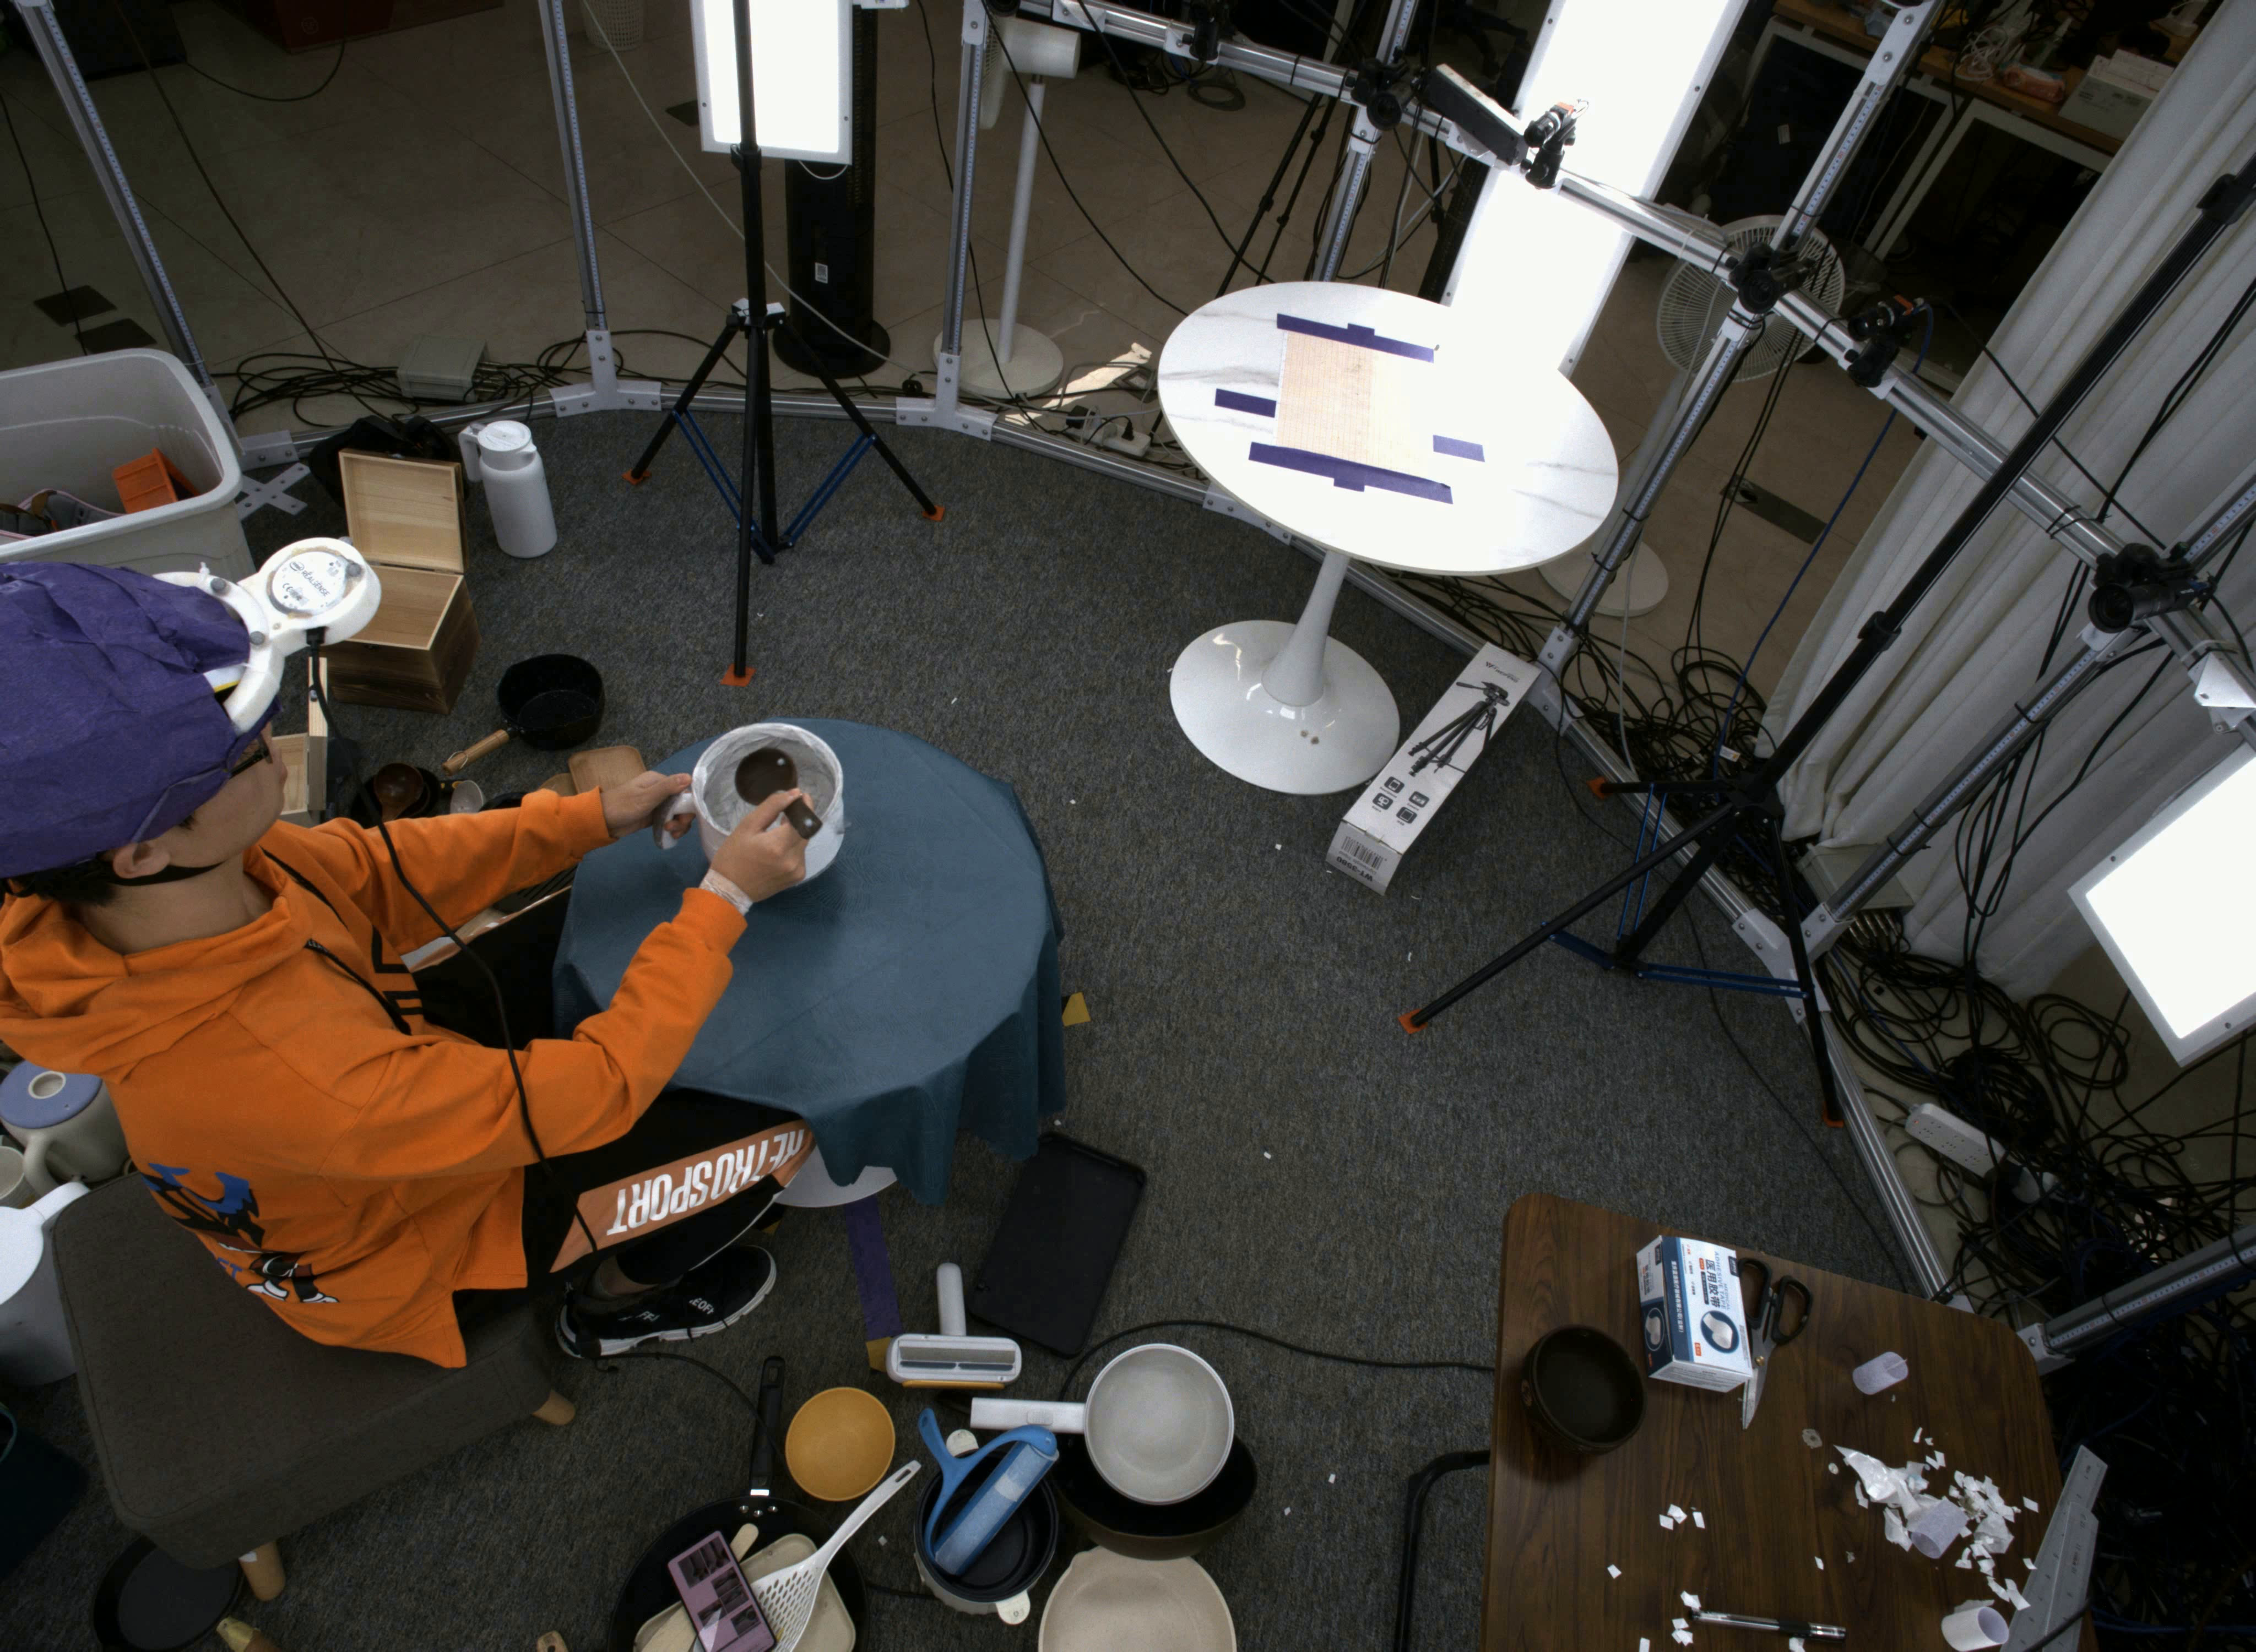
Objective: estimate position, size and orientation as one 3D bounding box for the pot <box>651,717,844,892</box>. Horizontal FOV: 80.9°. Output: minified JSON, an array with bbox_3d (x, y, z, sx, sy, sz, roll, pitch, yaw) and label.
[{"bbox_3d":[-0.463,-0.019,1.565,0.234,0.139,0.175,-5,57,-16],"label":"pot"}]

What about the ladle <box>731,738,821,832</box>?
[{"bbox_3d":[-0.381,-0.047,1.396,0.076,0.266,0.073,-45,112,-9],"label":"ladle"}]
